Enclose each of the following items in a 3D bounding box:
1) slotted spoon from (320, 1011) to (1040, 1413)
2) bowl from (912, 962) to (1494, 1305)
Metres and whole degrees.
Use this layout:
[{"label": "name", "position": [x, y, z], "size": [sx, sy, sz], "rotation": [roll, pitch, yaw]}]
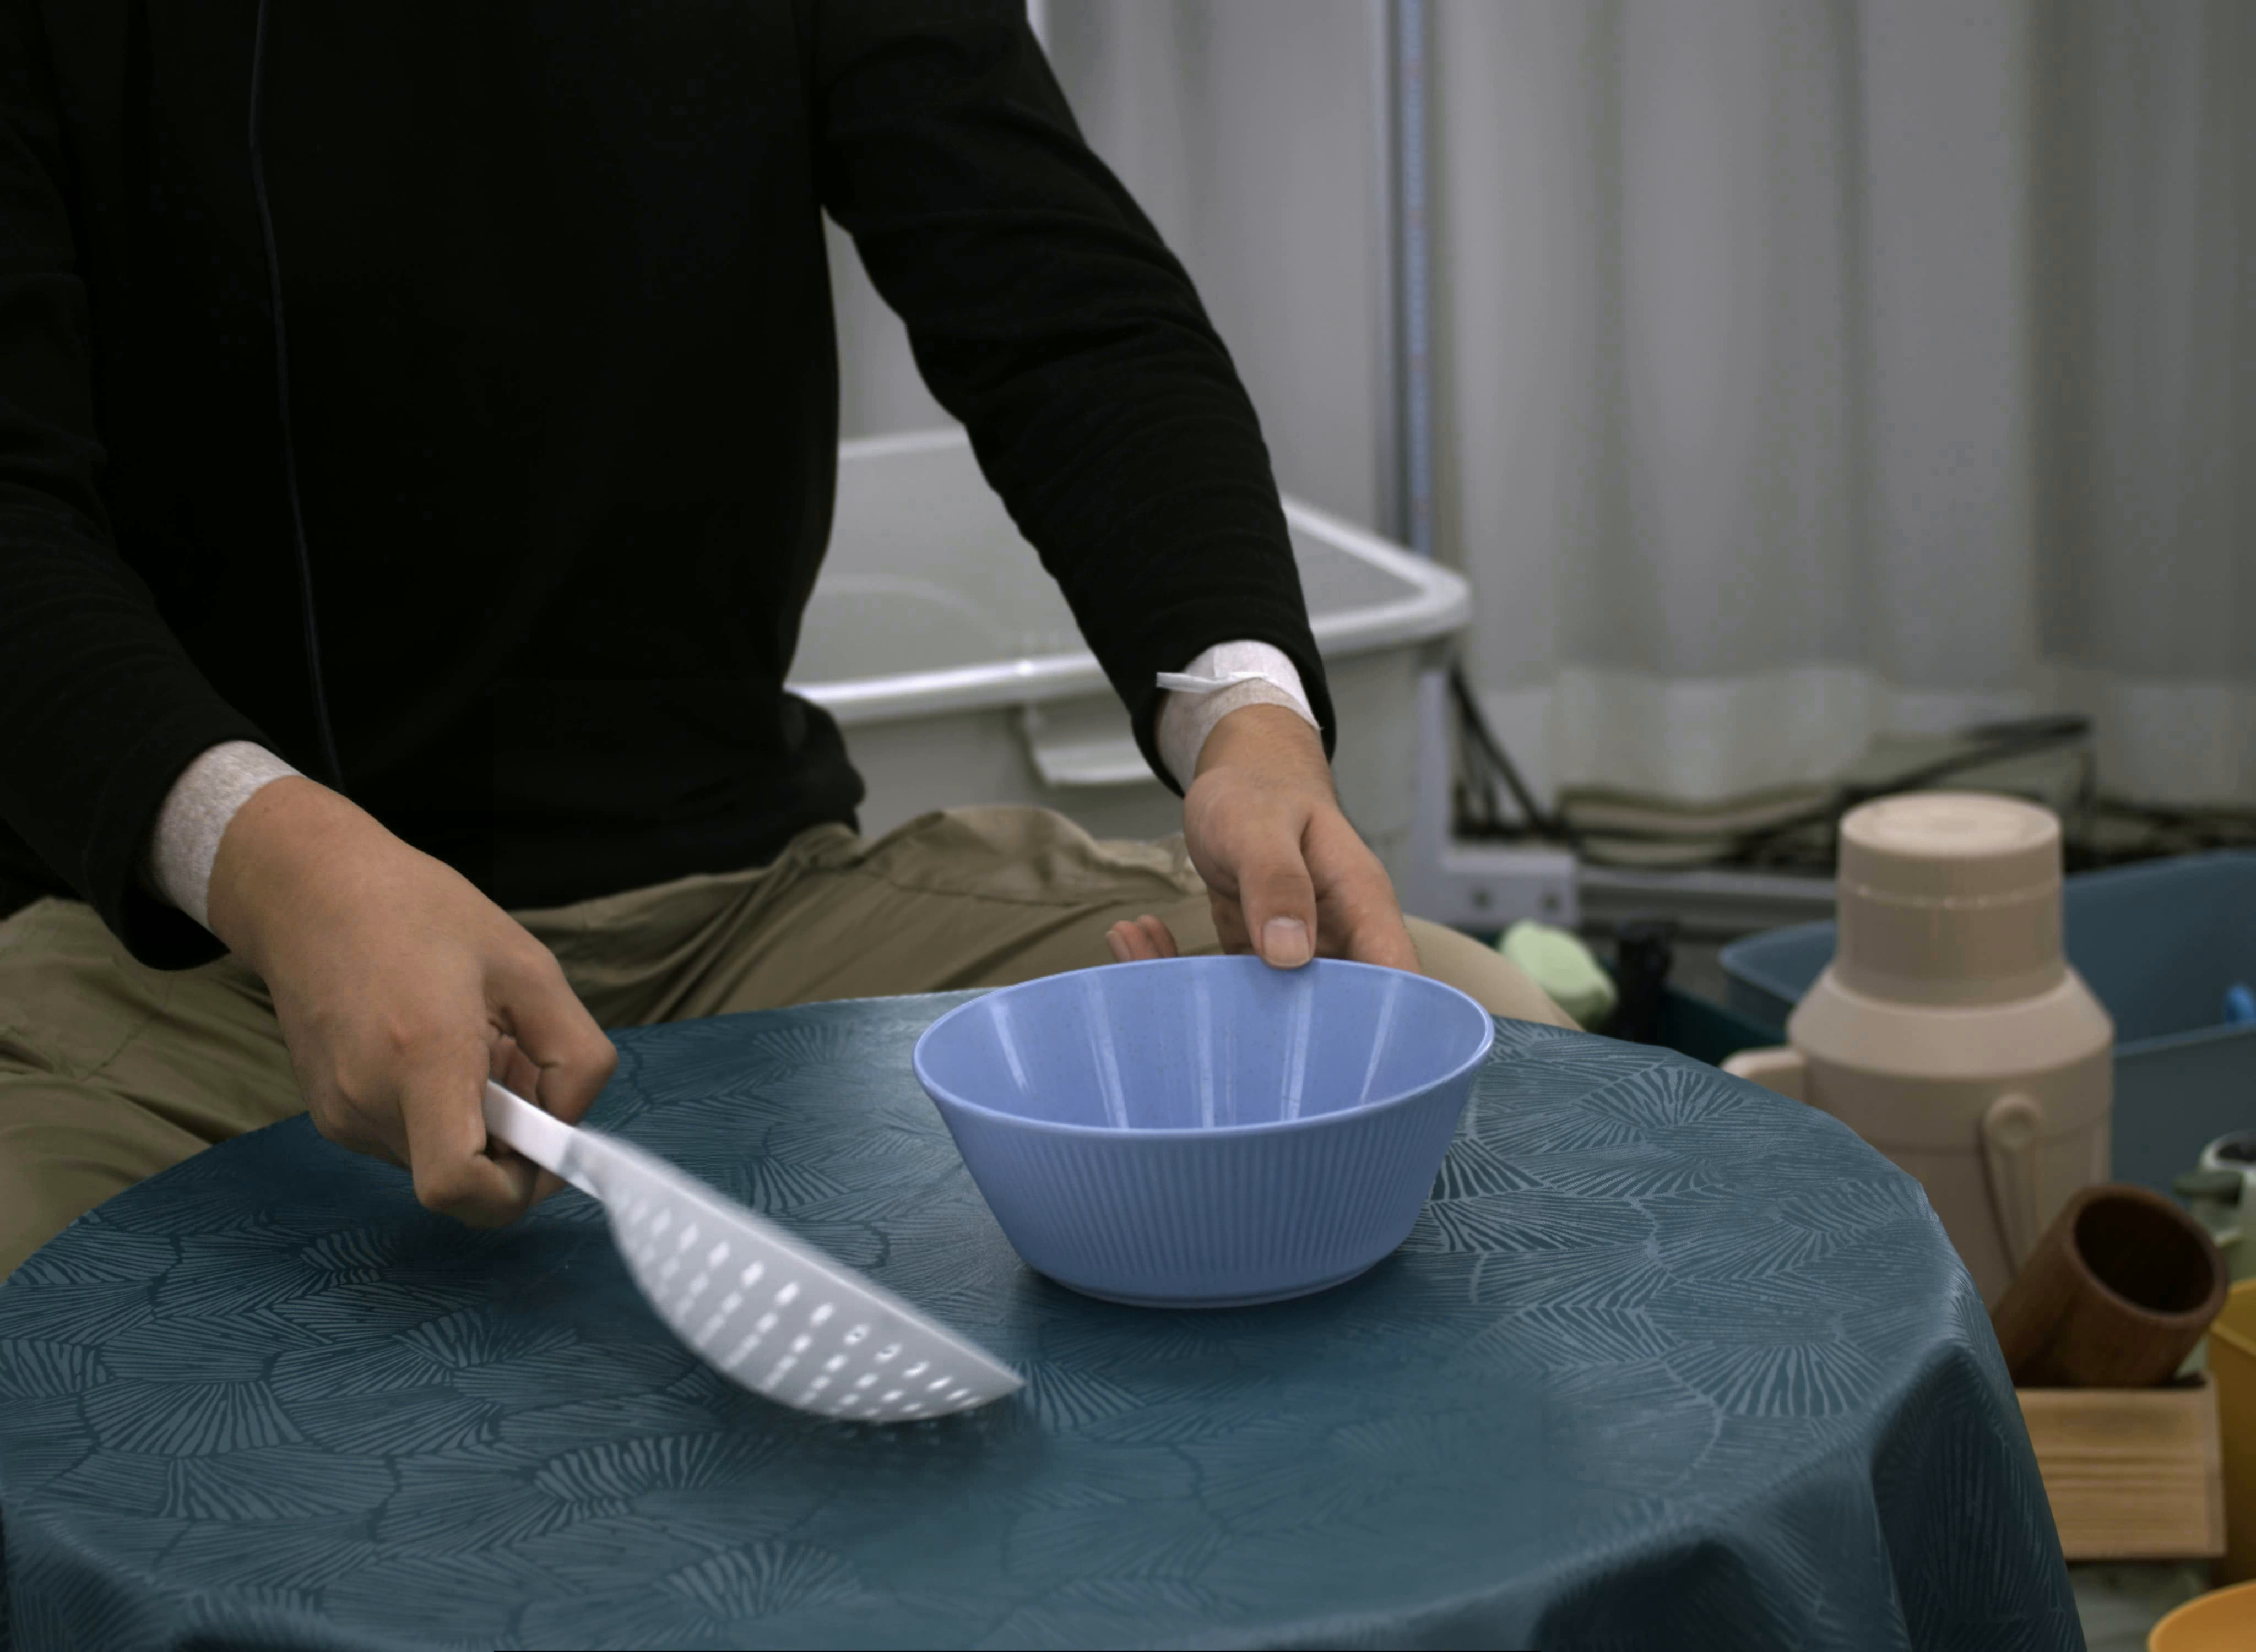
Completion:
[{"label": "slotted spoon", "position": [-0.148, 0.103, 1.605], "size": [0.134, 0.046, 0.353], "rotation": [38, -7, -36]}, {"label": "bowl", "position": [0.024, 0.095, 1.650], "size": [0.175, 0.070, 0.177], "rotation": [-3, 14, 1]}]
